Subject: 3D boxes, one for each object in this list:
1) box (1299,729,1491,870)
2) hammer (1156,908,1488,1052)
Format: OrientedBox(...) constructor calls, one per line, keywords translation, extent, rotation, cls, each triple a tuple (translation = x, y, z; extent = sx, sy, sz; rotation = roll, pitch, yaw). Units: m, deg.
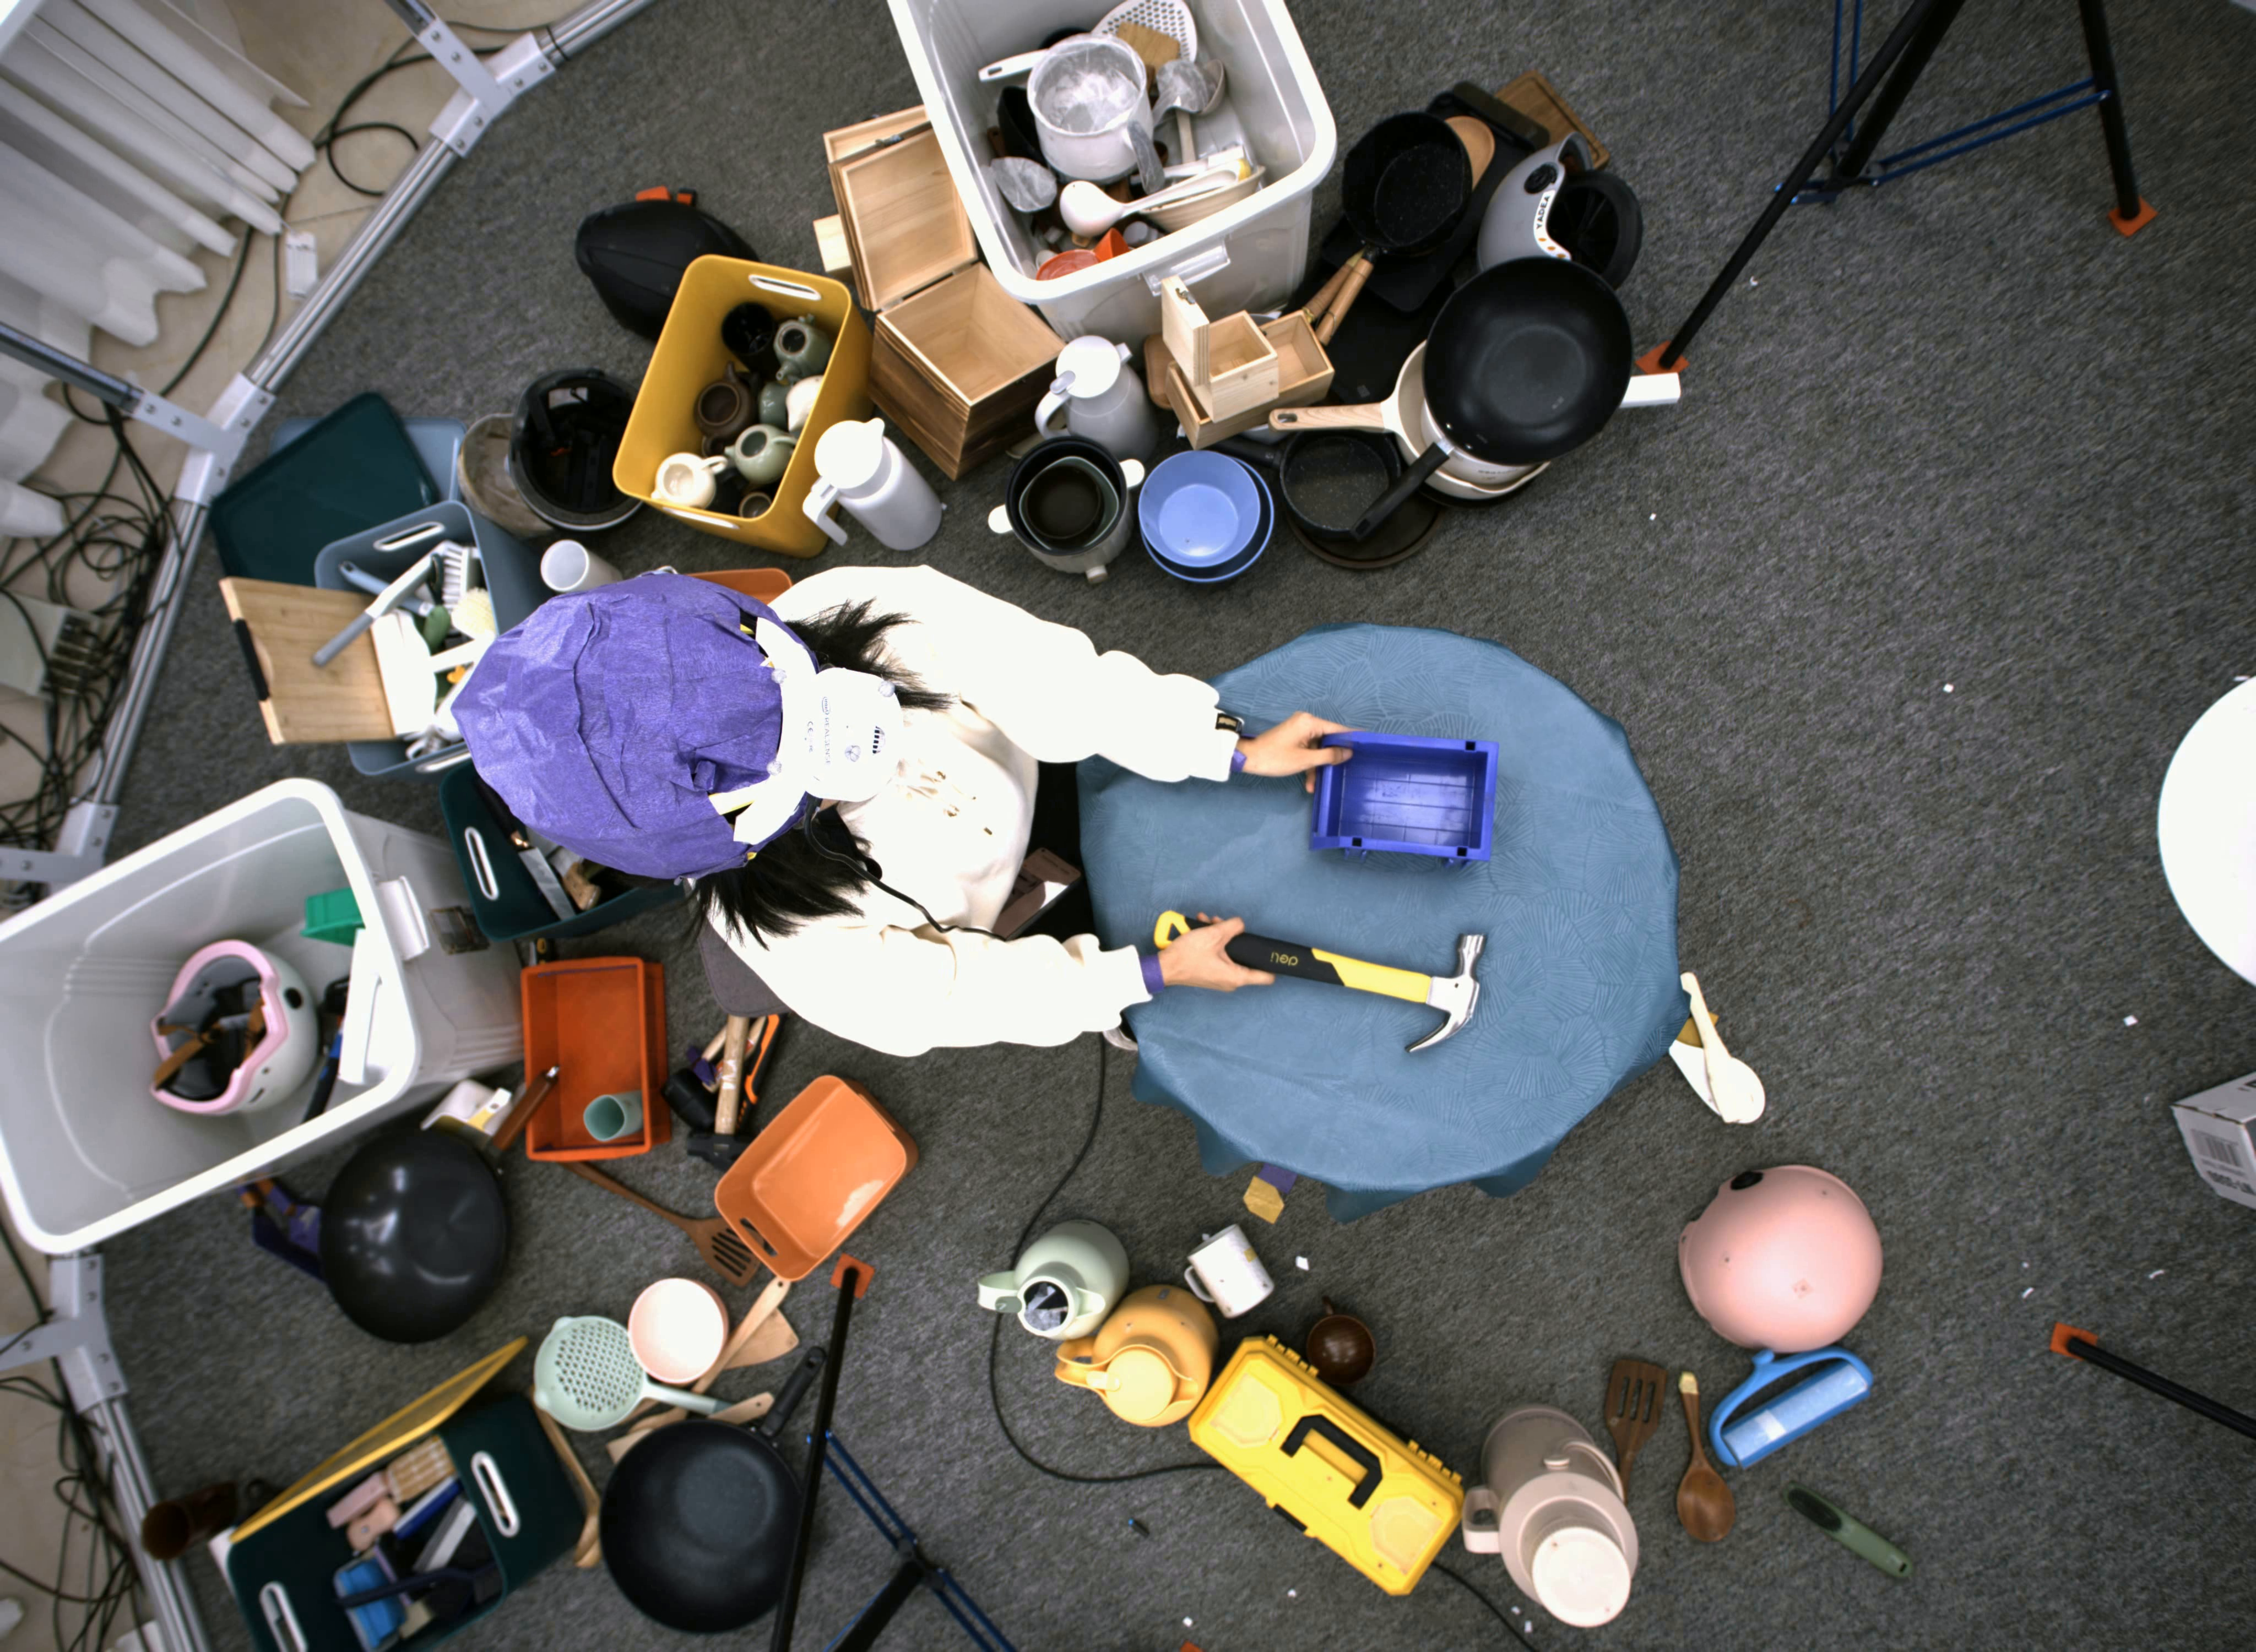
OrientedBox(translation=(0.272, -0.028, 1.420), extent=(0.180, 0.082, 0.124), rotation=(6, 86, 6), cls="box")
OrientedBox(translation=(0.195, 0.141, 1.438), extent=(0.339, 0.032, 0.131), rotation=(13, 91, 5), cls="hammer")
